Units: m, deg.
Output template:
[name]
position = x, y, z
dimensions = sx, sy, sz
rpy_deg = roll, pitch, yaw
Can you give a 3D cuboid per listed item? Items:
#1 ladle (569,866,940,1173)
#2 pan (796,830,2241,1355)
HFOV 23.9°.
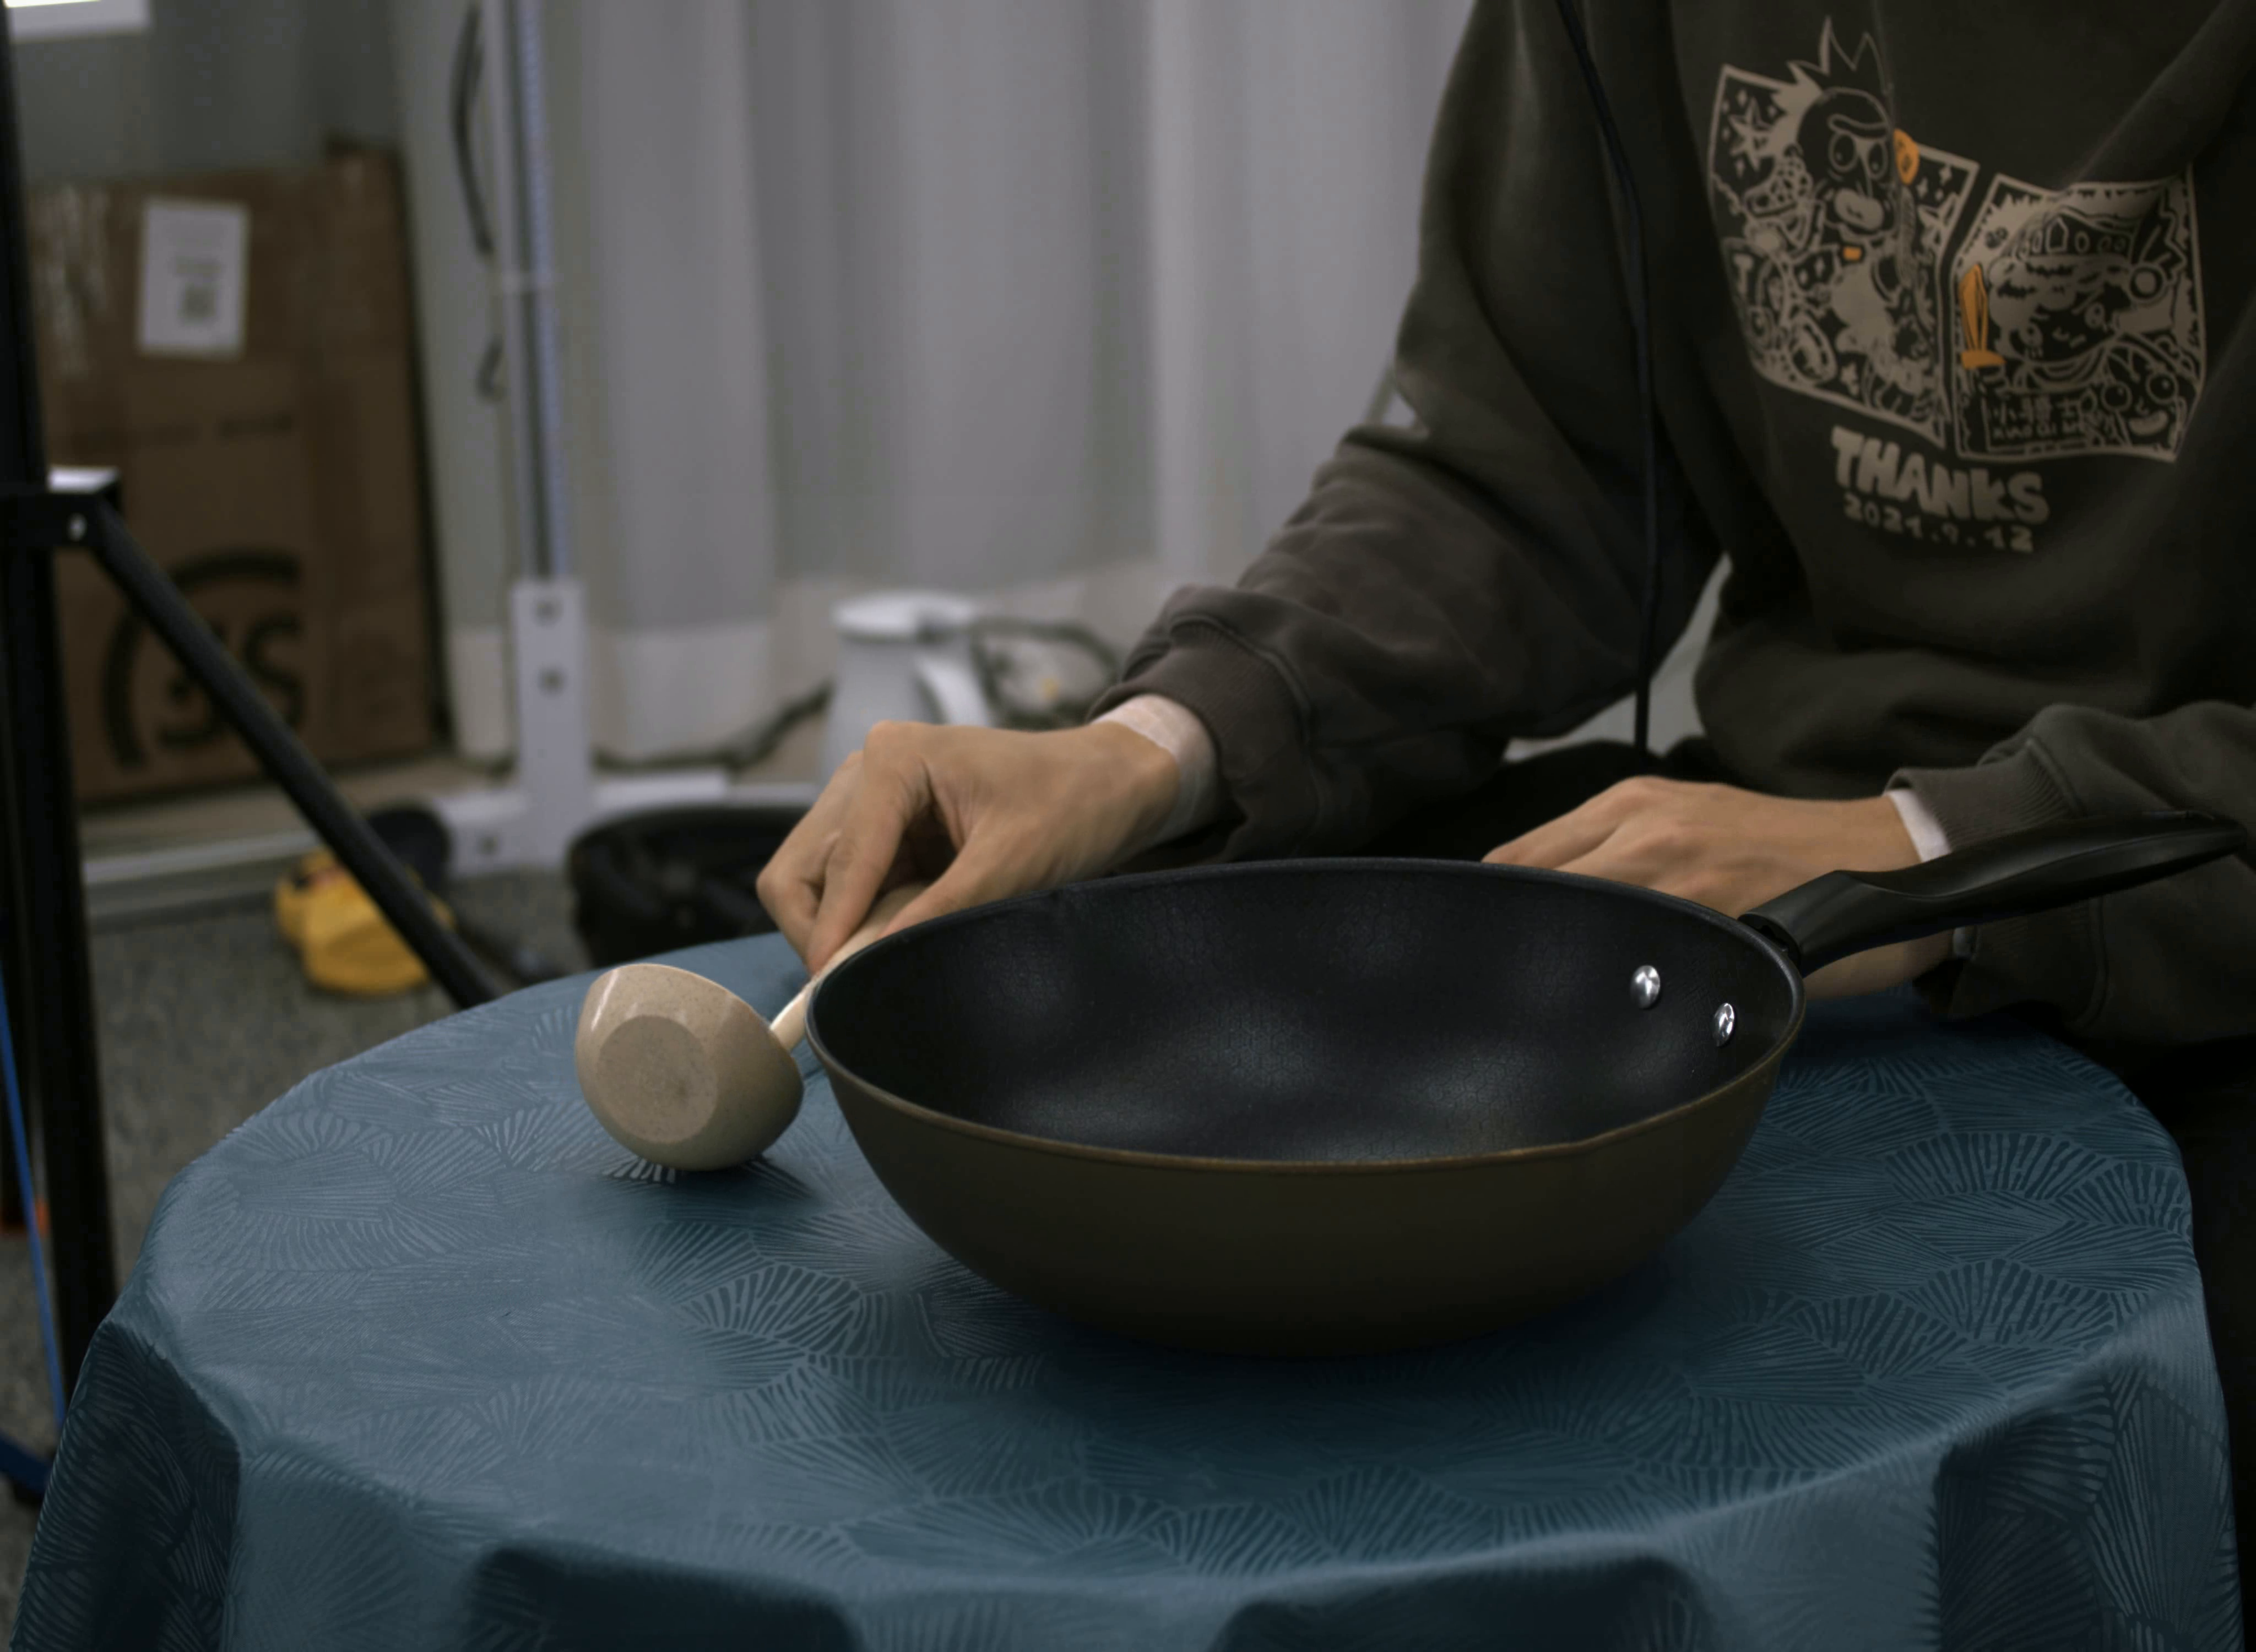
[ladle]
position = -0.103, 0.032, 1.680
dimensions = 0.073, 0.073, 0.252
rpy_deg = 11, 26, 14
[pan]
position = 0.128, 0.070, 1.523
dimensions = 0.453, 0.087, 0.294
rpy_deg = -9, 17, -25
